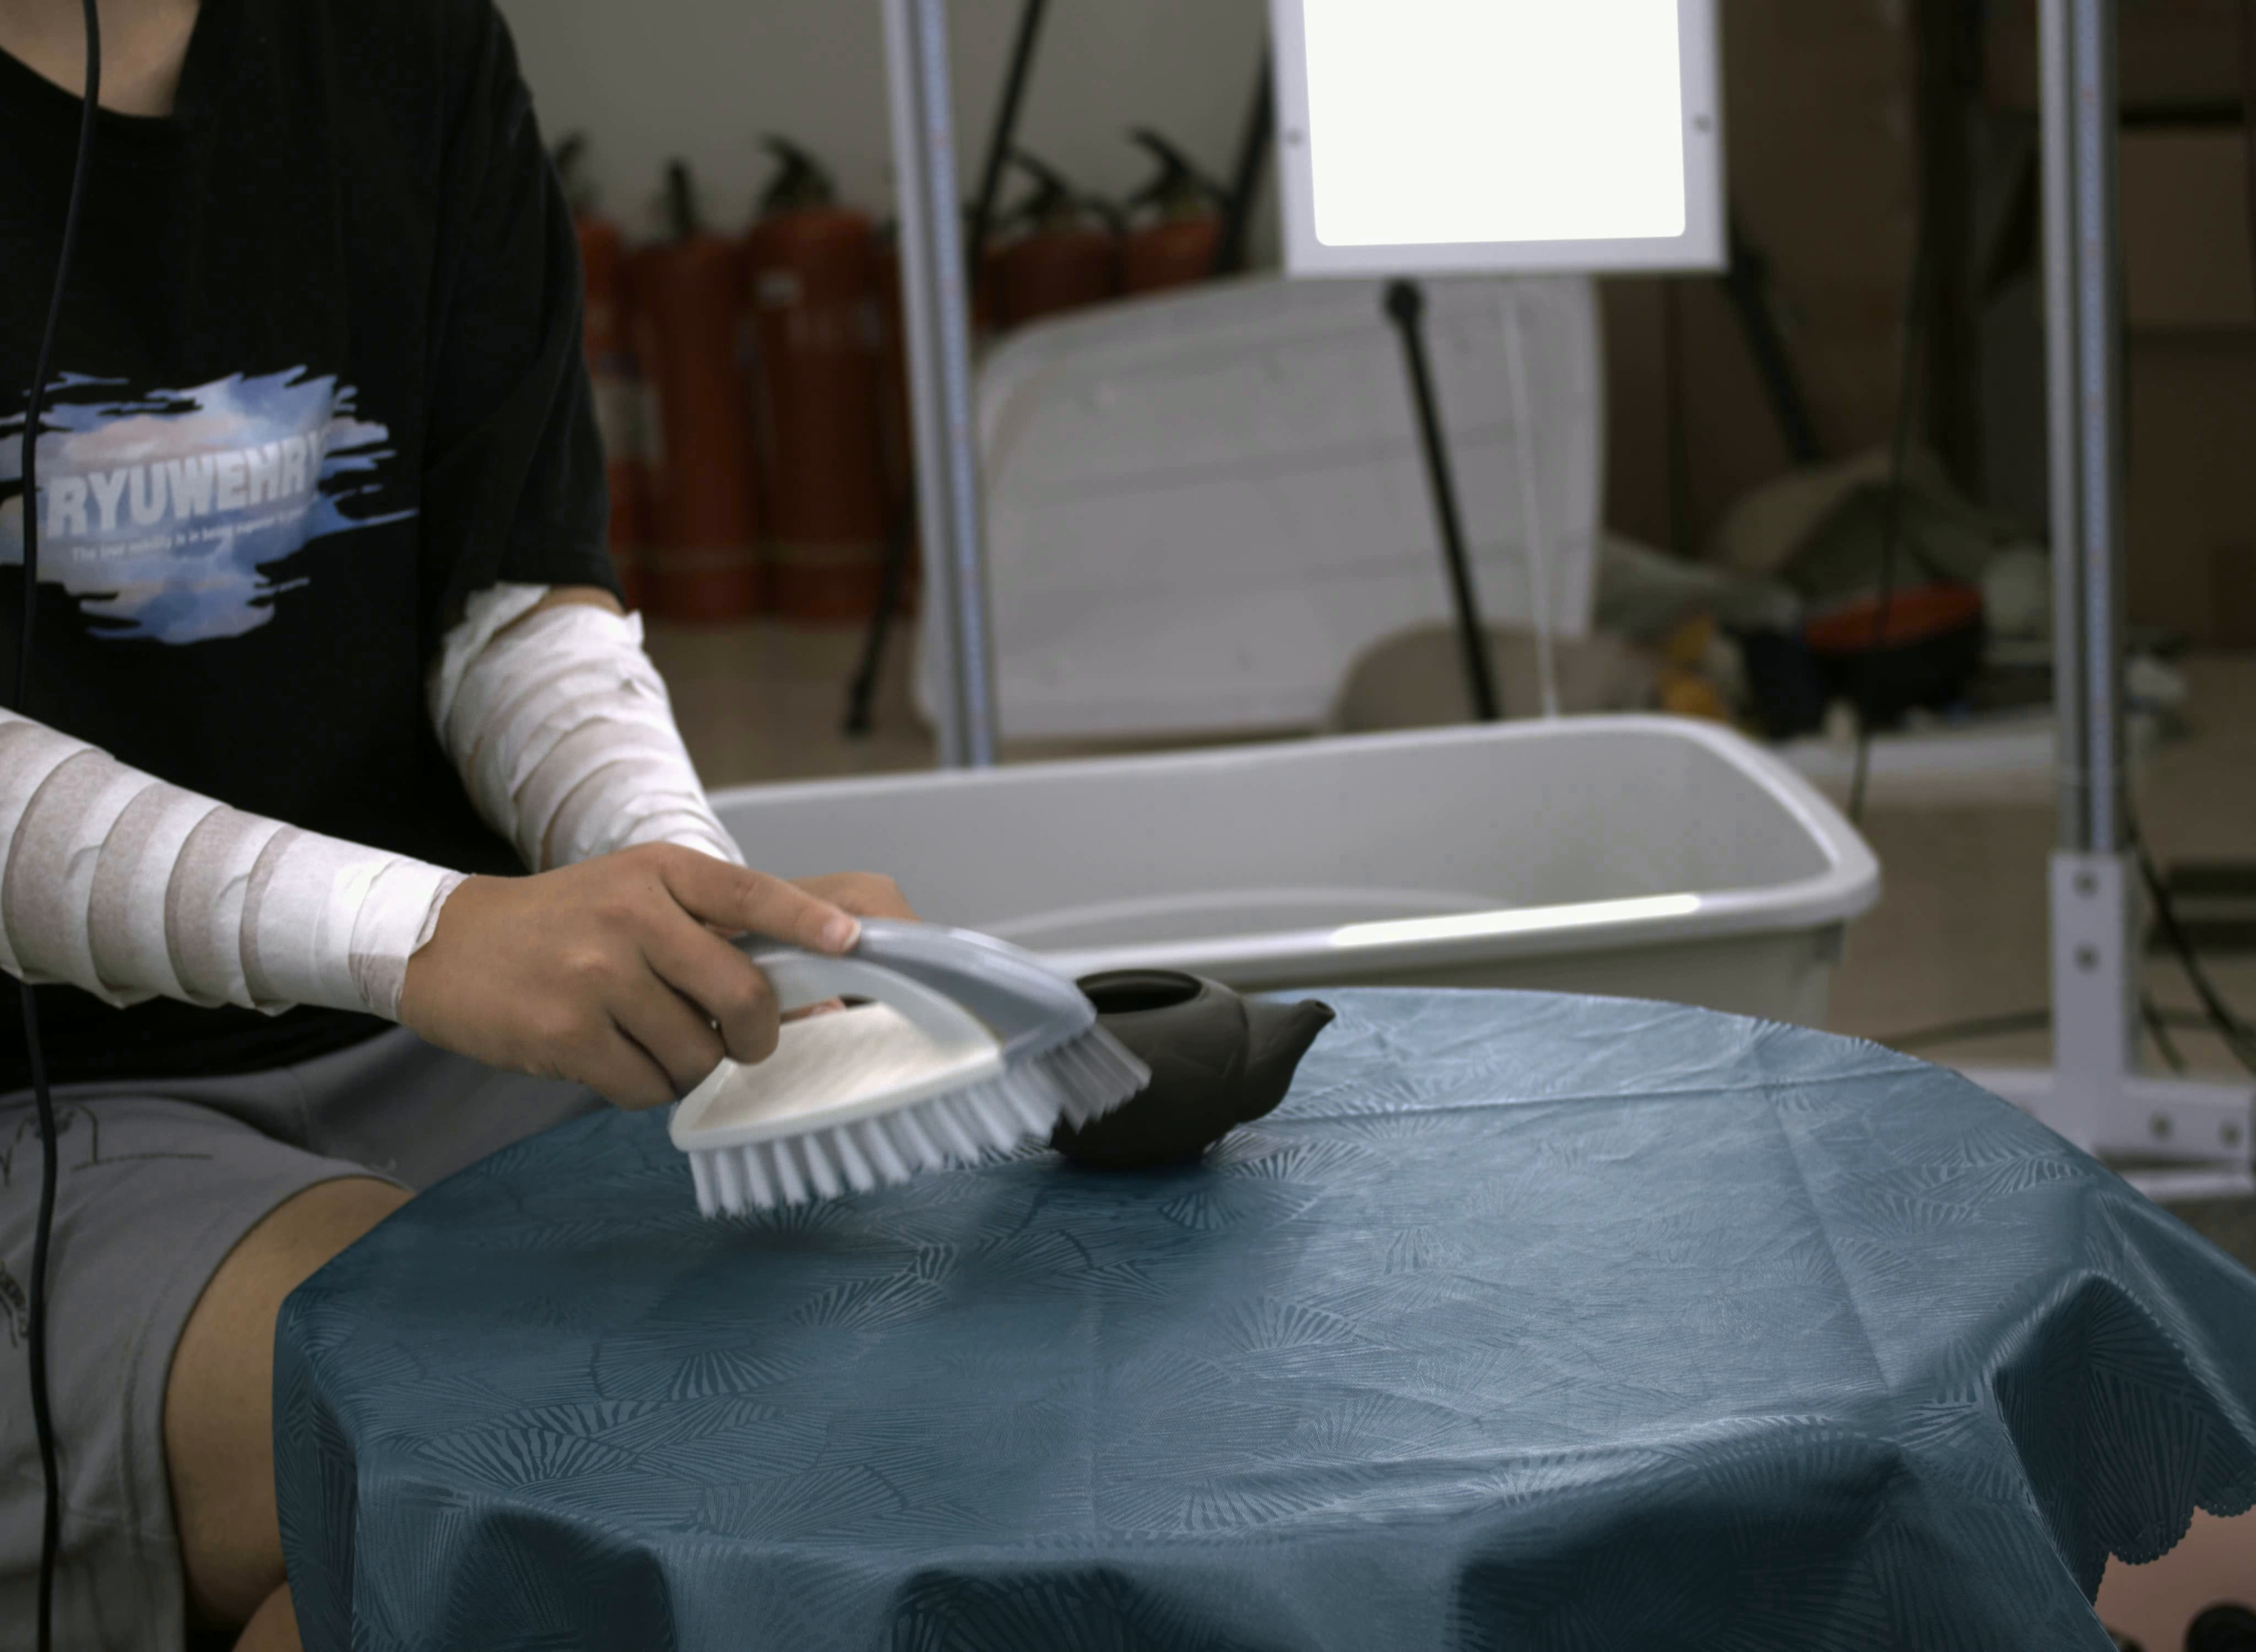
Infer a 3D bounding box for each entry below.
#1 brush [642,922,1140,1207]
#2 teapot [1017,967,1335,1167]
[{"bbox_3d":[-0.085,0.070,1.827,0.179,0.094,0.060,-8,34,35],"label":"brush"},{"bbox_3d":[-0.002,0.083,1.940,0.156,0.064,0.091,0,14,16],"label":"teapot"}]
